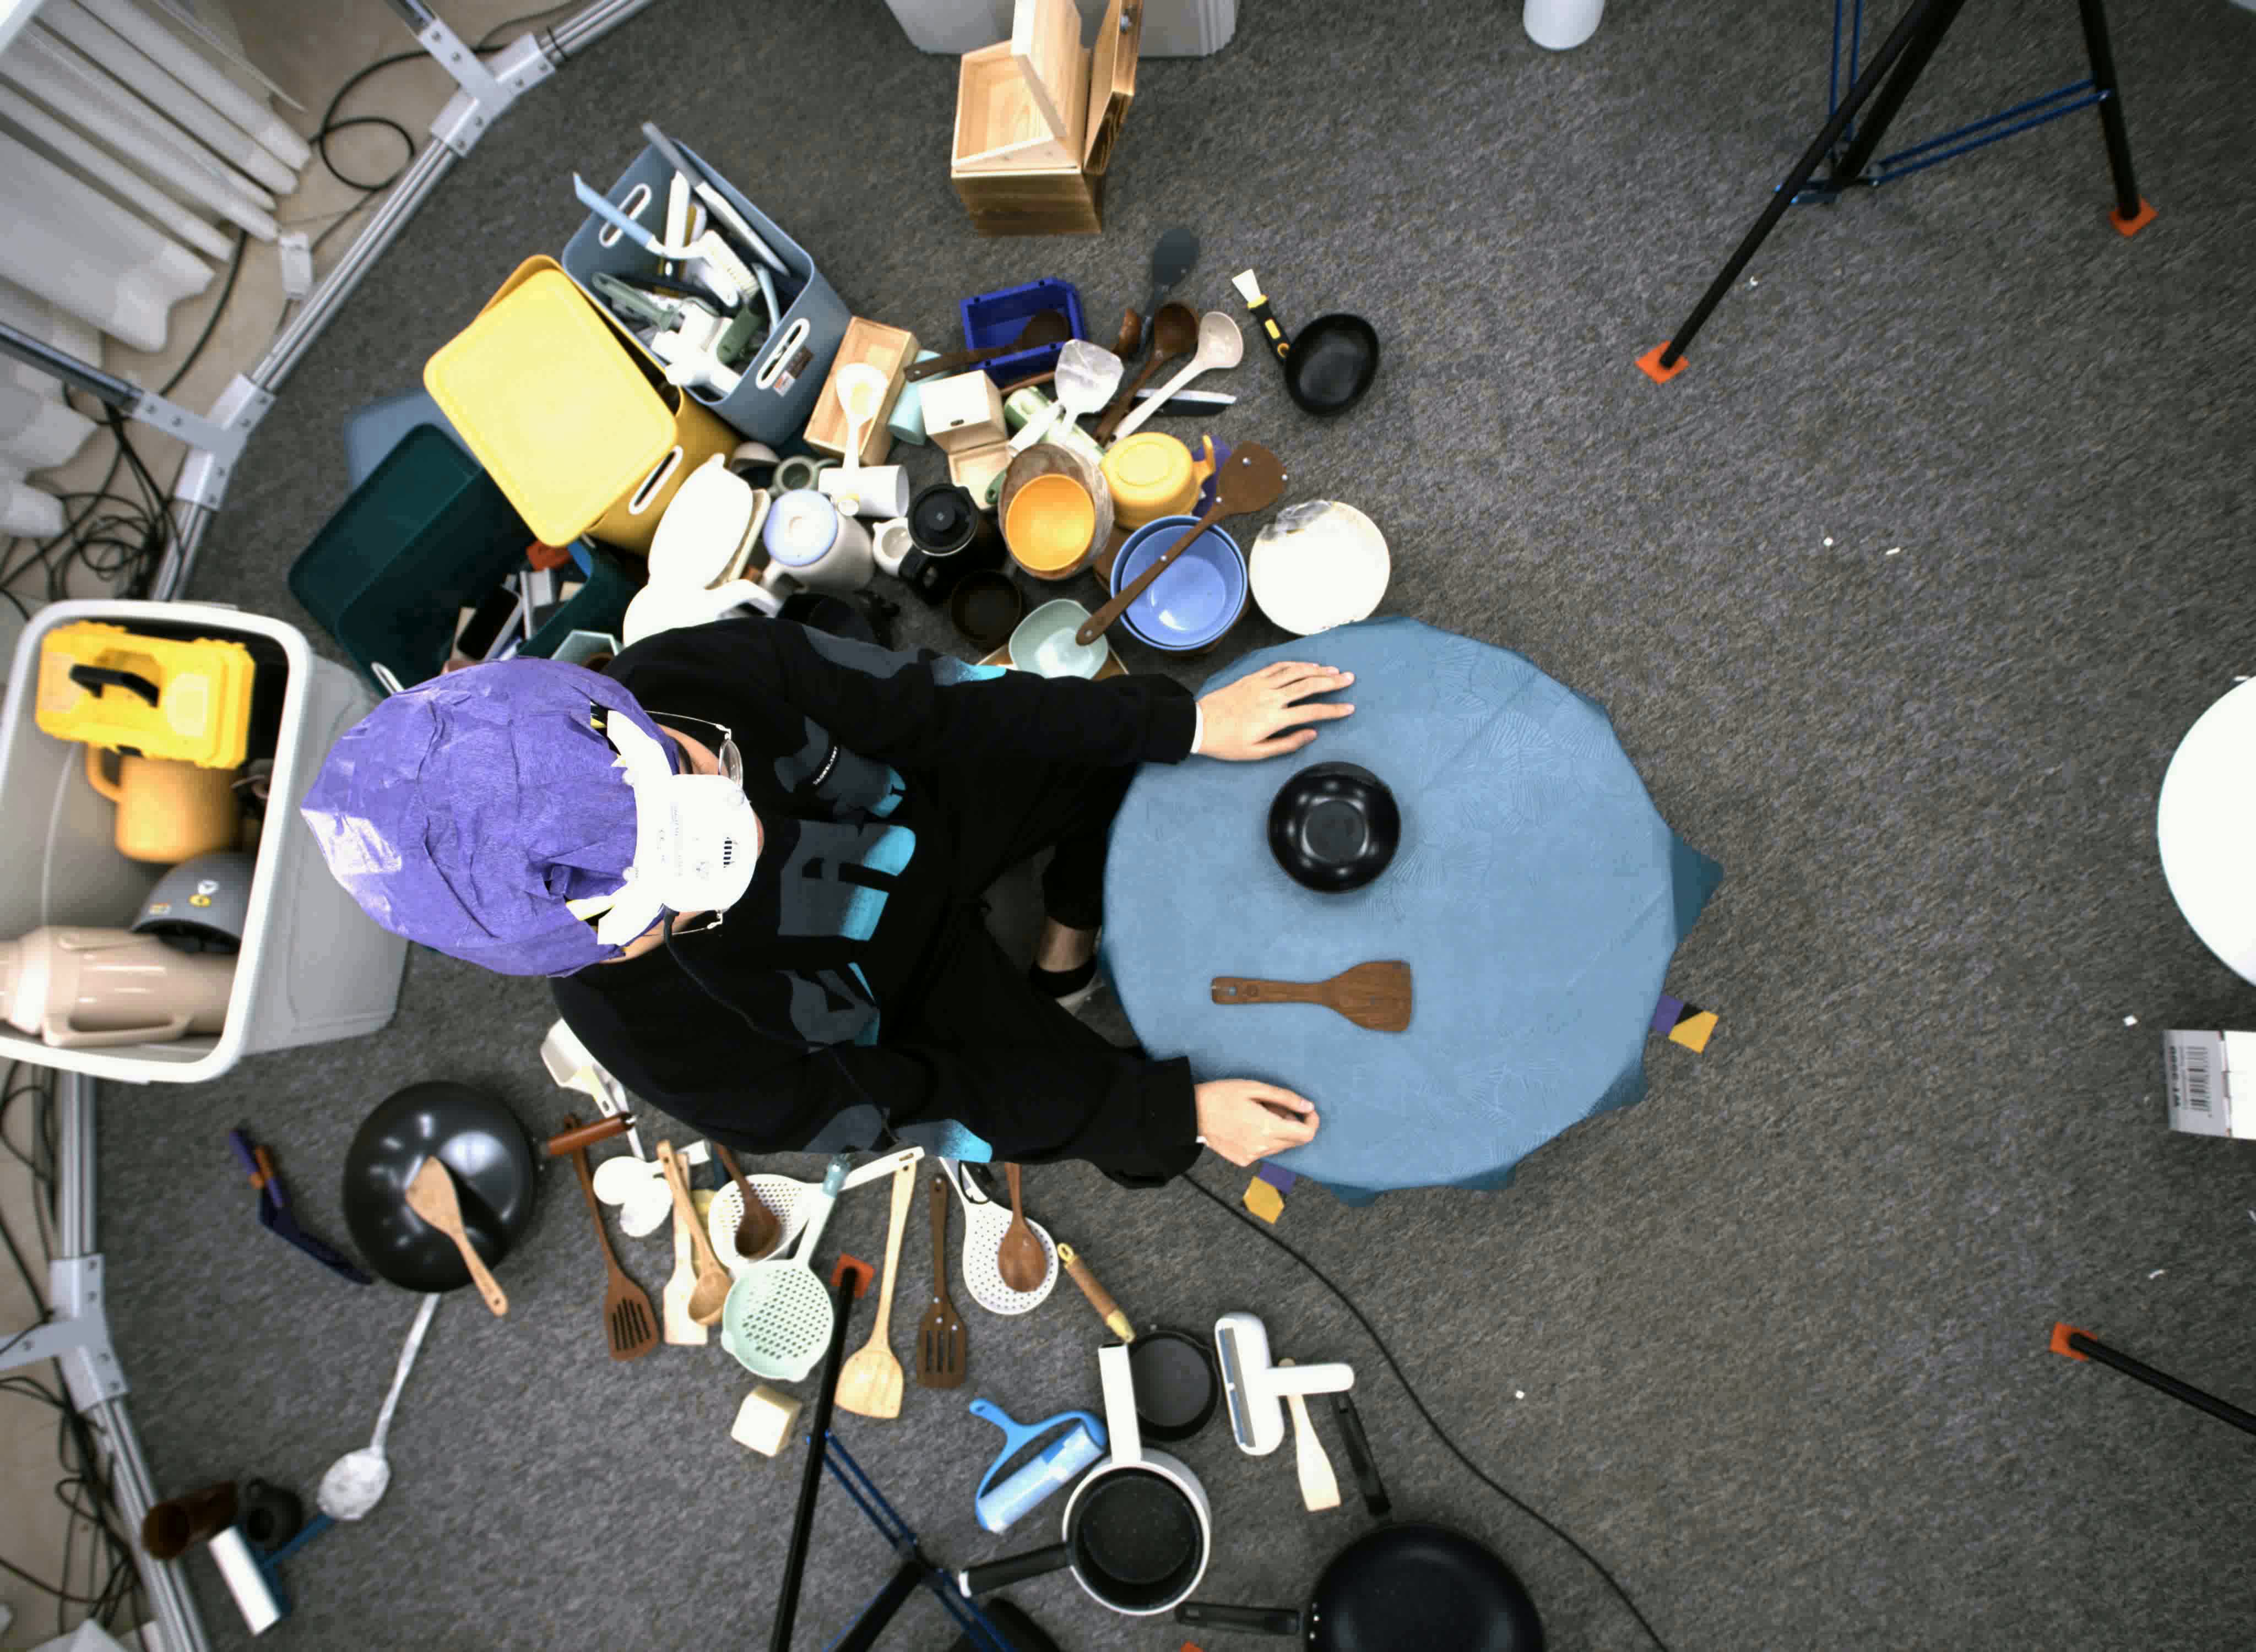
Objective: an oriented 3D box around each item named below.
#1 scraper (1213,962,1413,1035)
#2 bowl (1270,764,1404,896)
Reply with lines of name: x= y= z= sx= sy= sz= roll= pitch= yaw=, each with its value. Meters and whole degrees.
scraper: x=0.195 y=0.178 z=1.467 sx=0.212 sy=0.011 sz=0.075 roll=1 pitch=85 yaw=11
bowl: x=0.220 y=0.004 z=1.455 sx=0.140 sy=0.049 sz=0.139 roll=0 pitch=89 yaw=11
